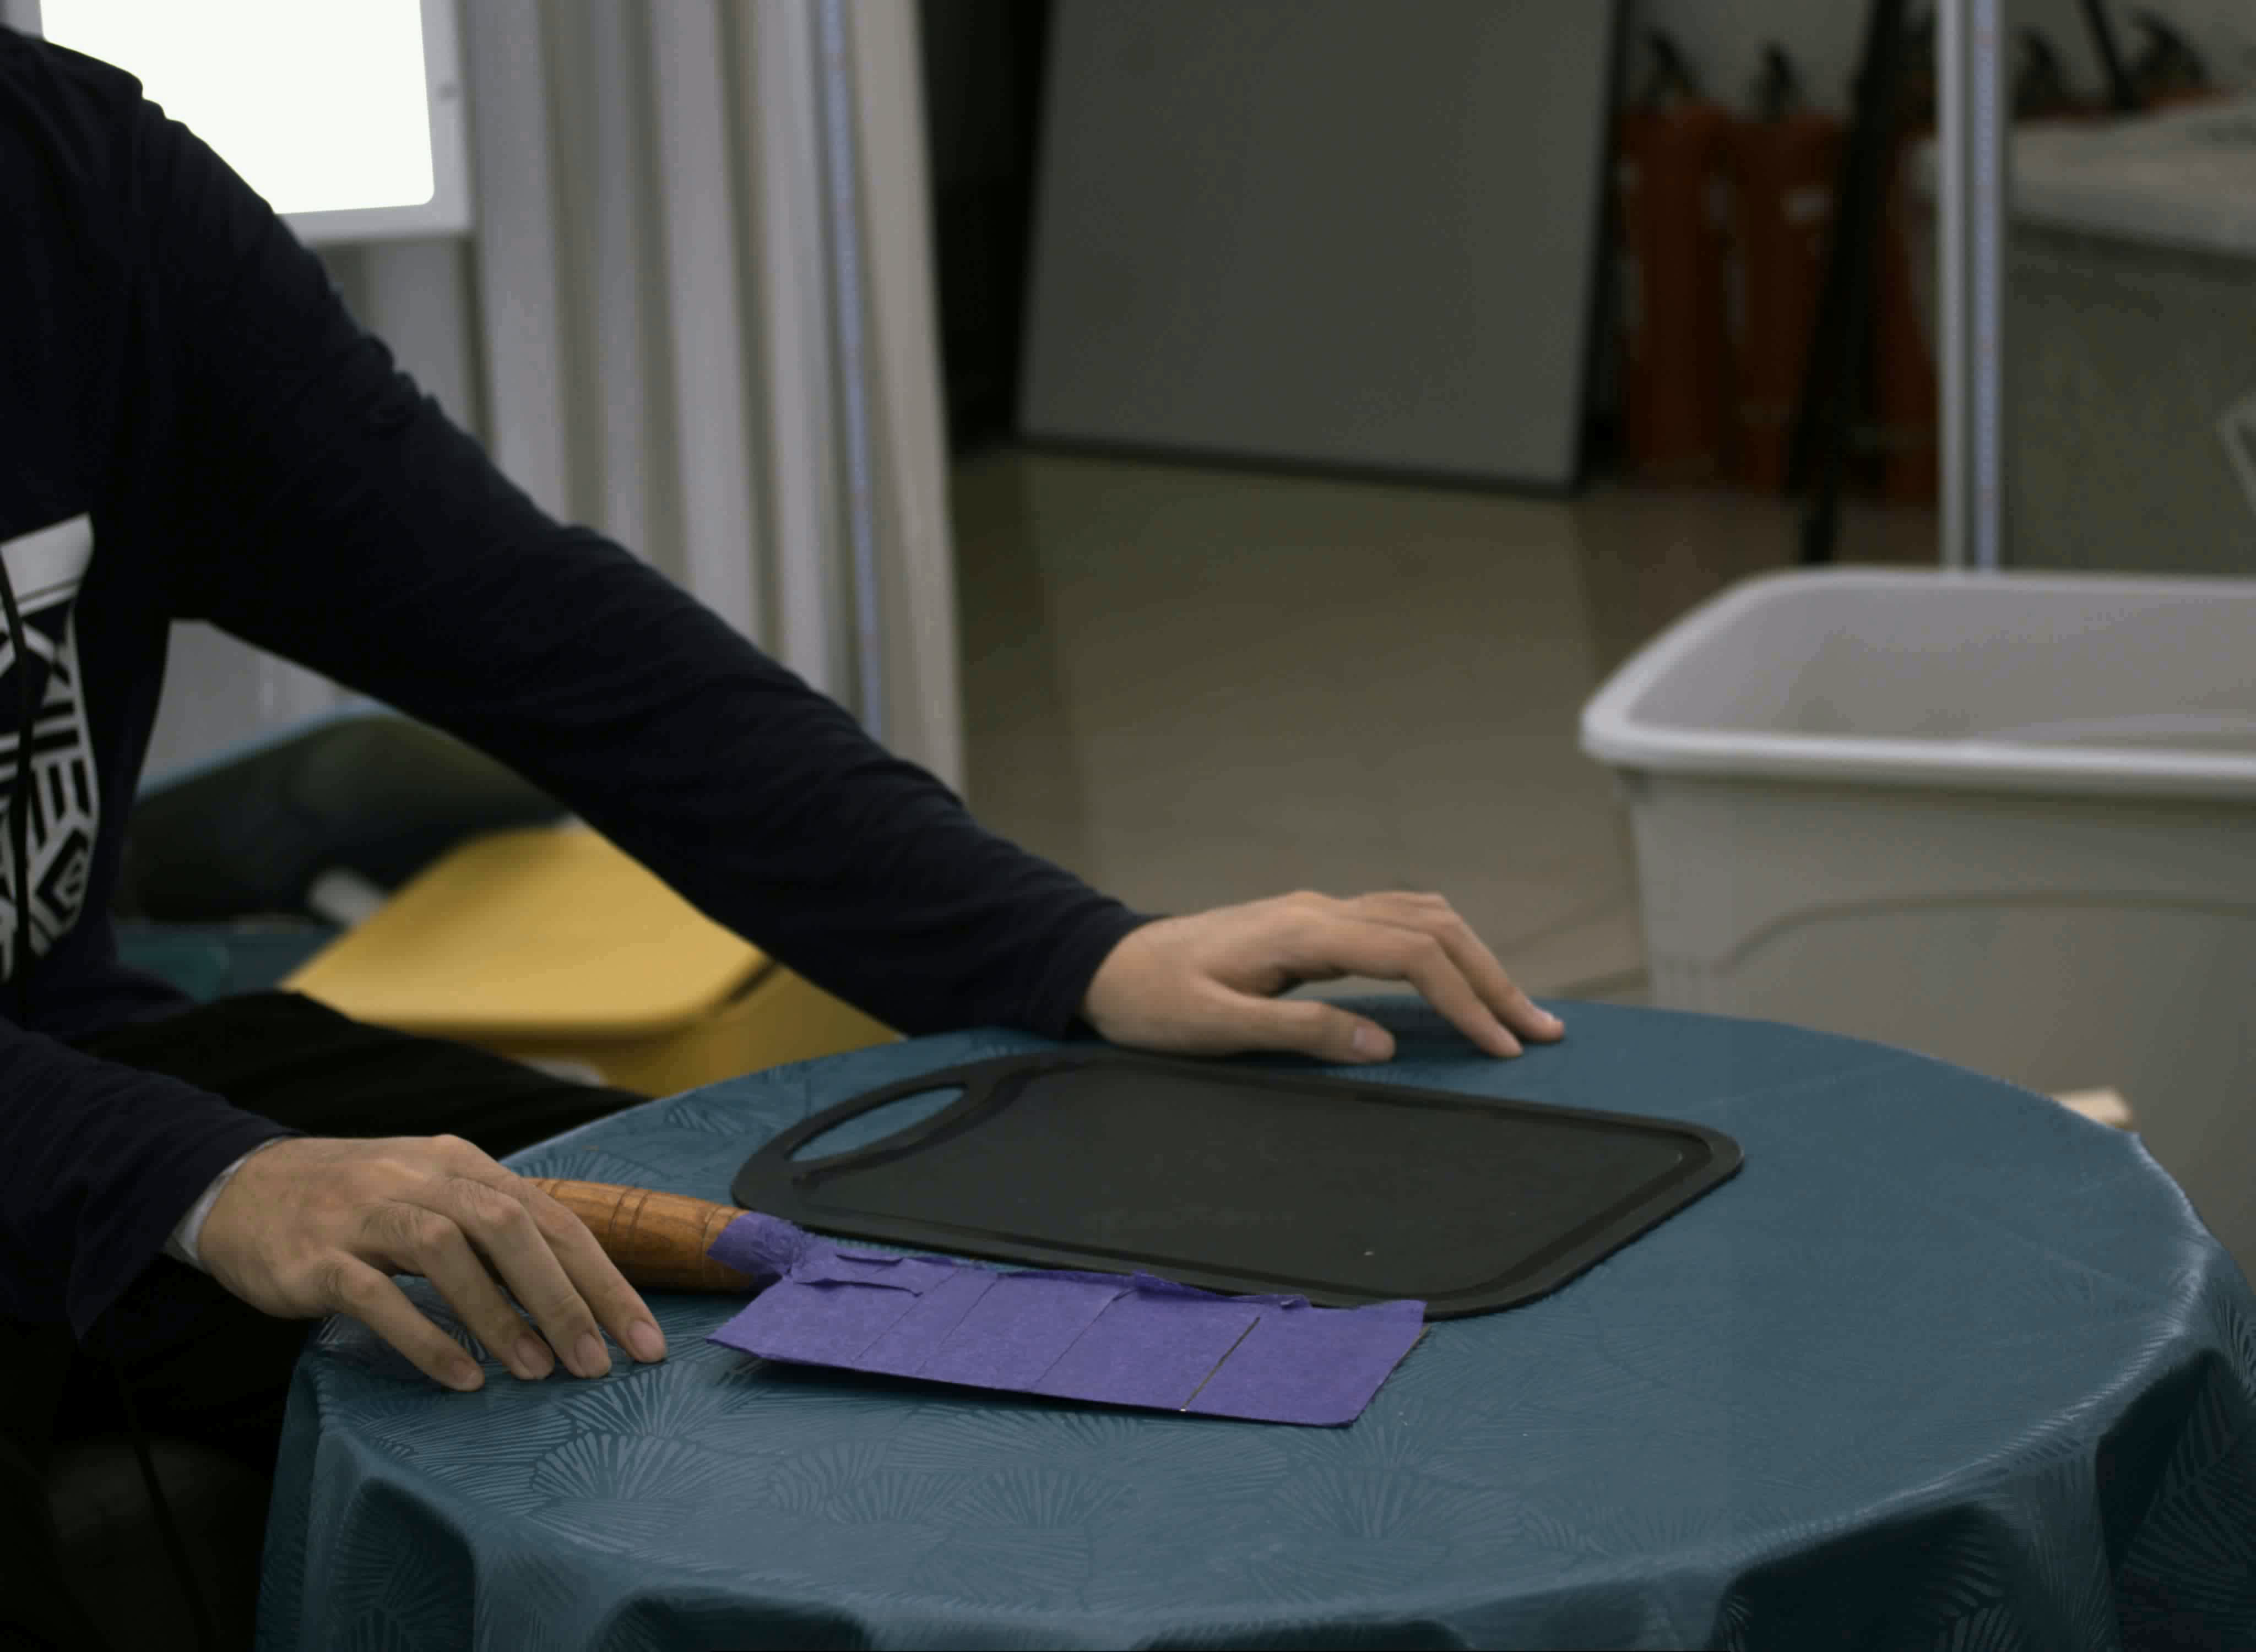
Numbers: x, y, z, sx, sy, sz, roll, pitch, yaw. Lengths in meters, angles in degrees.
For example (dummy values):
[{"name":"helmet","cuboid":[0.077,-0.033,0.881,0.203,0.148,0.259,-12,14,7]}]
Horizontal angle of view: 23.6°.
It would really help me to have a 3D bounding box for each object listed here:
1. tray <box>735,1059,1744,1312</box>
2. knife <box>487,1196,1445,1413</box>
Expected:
[{"name":"tray","cuboid":[0.028,0.114,1.783,0.327,0.010,0.207,5,16,34]},{"name":"knife","cuboid":[-0.064,0.145,1.638,0.315,0.032,0.103,2,14,22]}]
